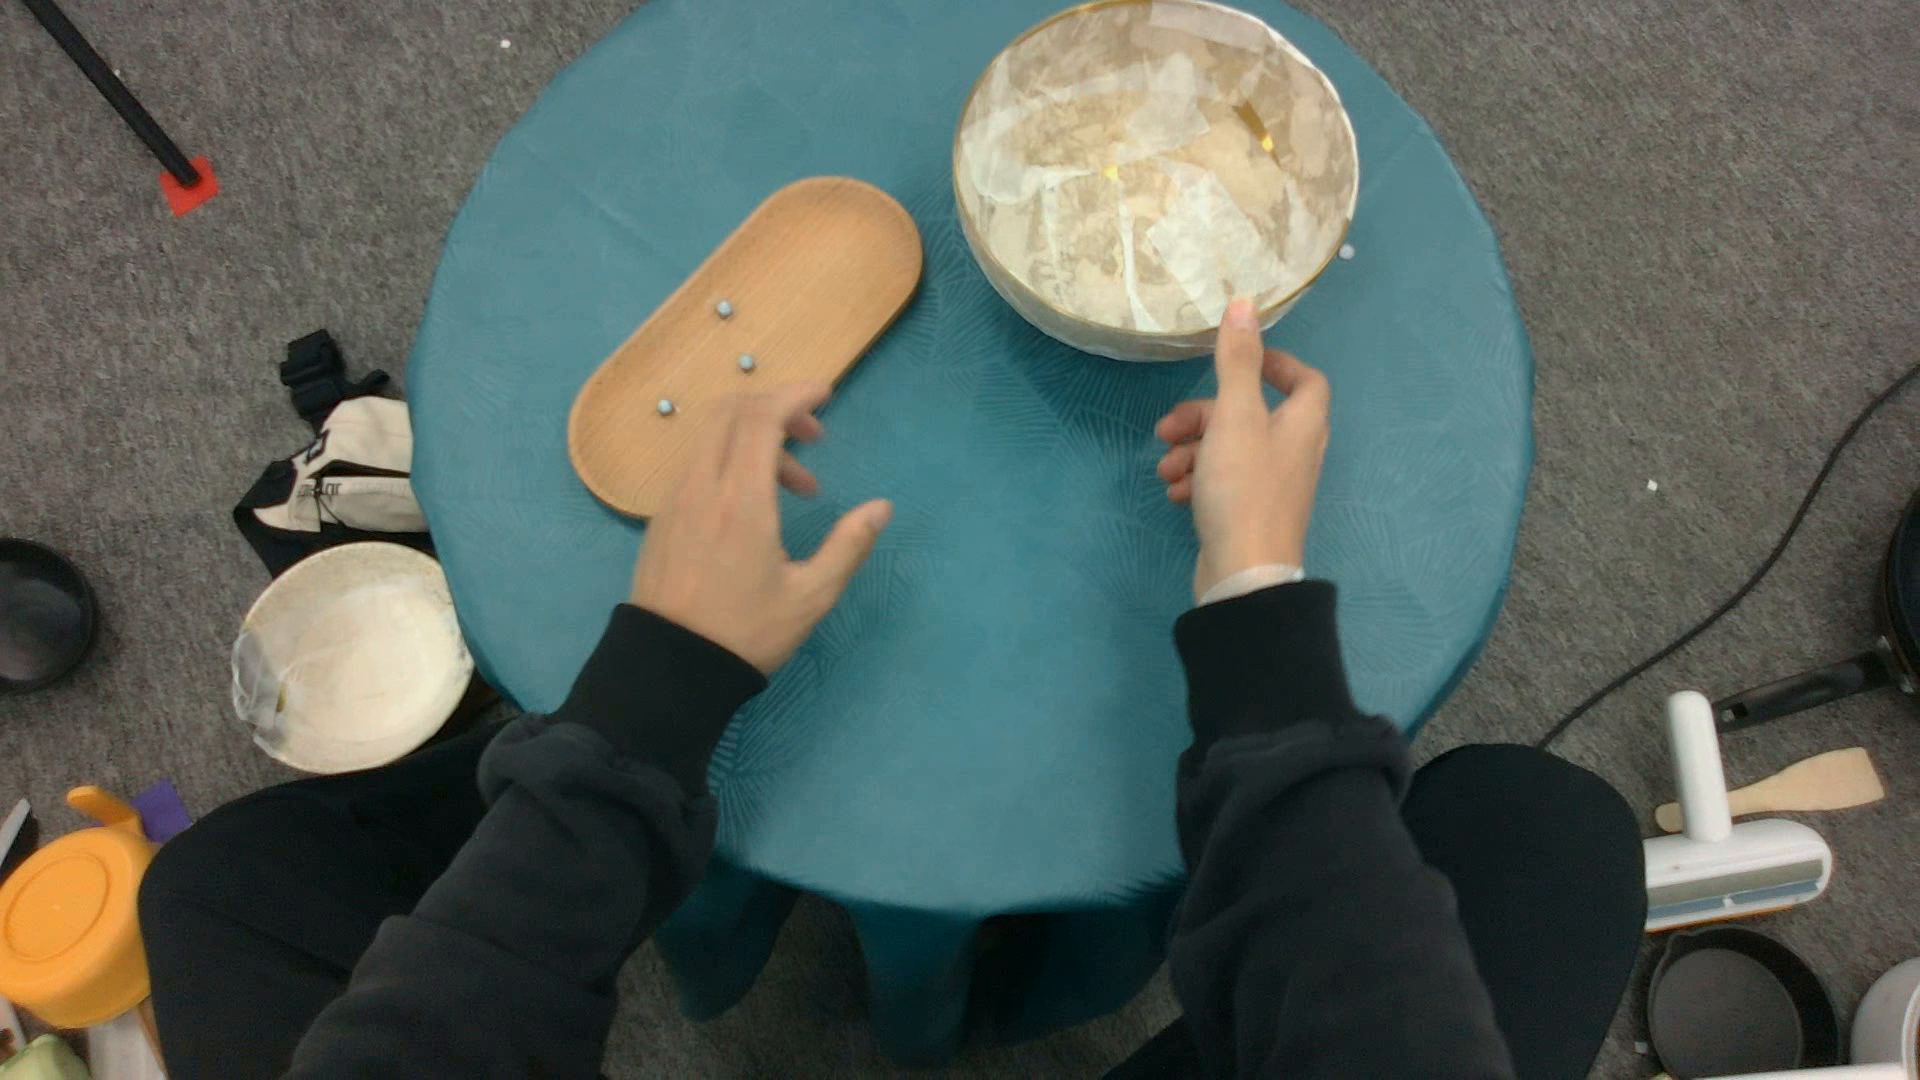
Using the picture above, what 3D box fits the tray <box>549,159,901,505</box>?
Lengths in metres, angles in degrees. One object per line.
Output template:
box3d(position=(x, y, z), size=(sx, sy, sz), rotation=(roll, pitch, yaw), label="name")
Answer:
box3d(position=(-0.121, -0.114, 0.733), size=(0.101, 0.020, 0.232), rotation=(36, 70, 8), label="tray")

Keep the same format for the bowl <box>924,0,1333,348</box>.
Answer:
box3d(position=(0.080, -0.182, 0.726), size=(0.215, 0.094, 0.215), rotation=(1, 70, -3), label="bowl")
